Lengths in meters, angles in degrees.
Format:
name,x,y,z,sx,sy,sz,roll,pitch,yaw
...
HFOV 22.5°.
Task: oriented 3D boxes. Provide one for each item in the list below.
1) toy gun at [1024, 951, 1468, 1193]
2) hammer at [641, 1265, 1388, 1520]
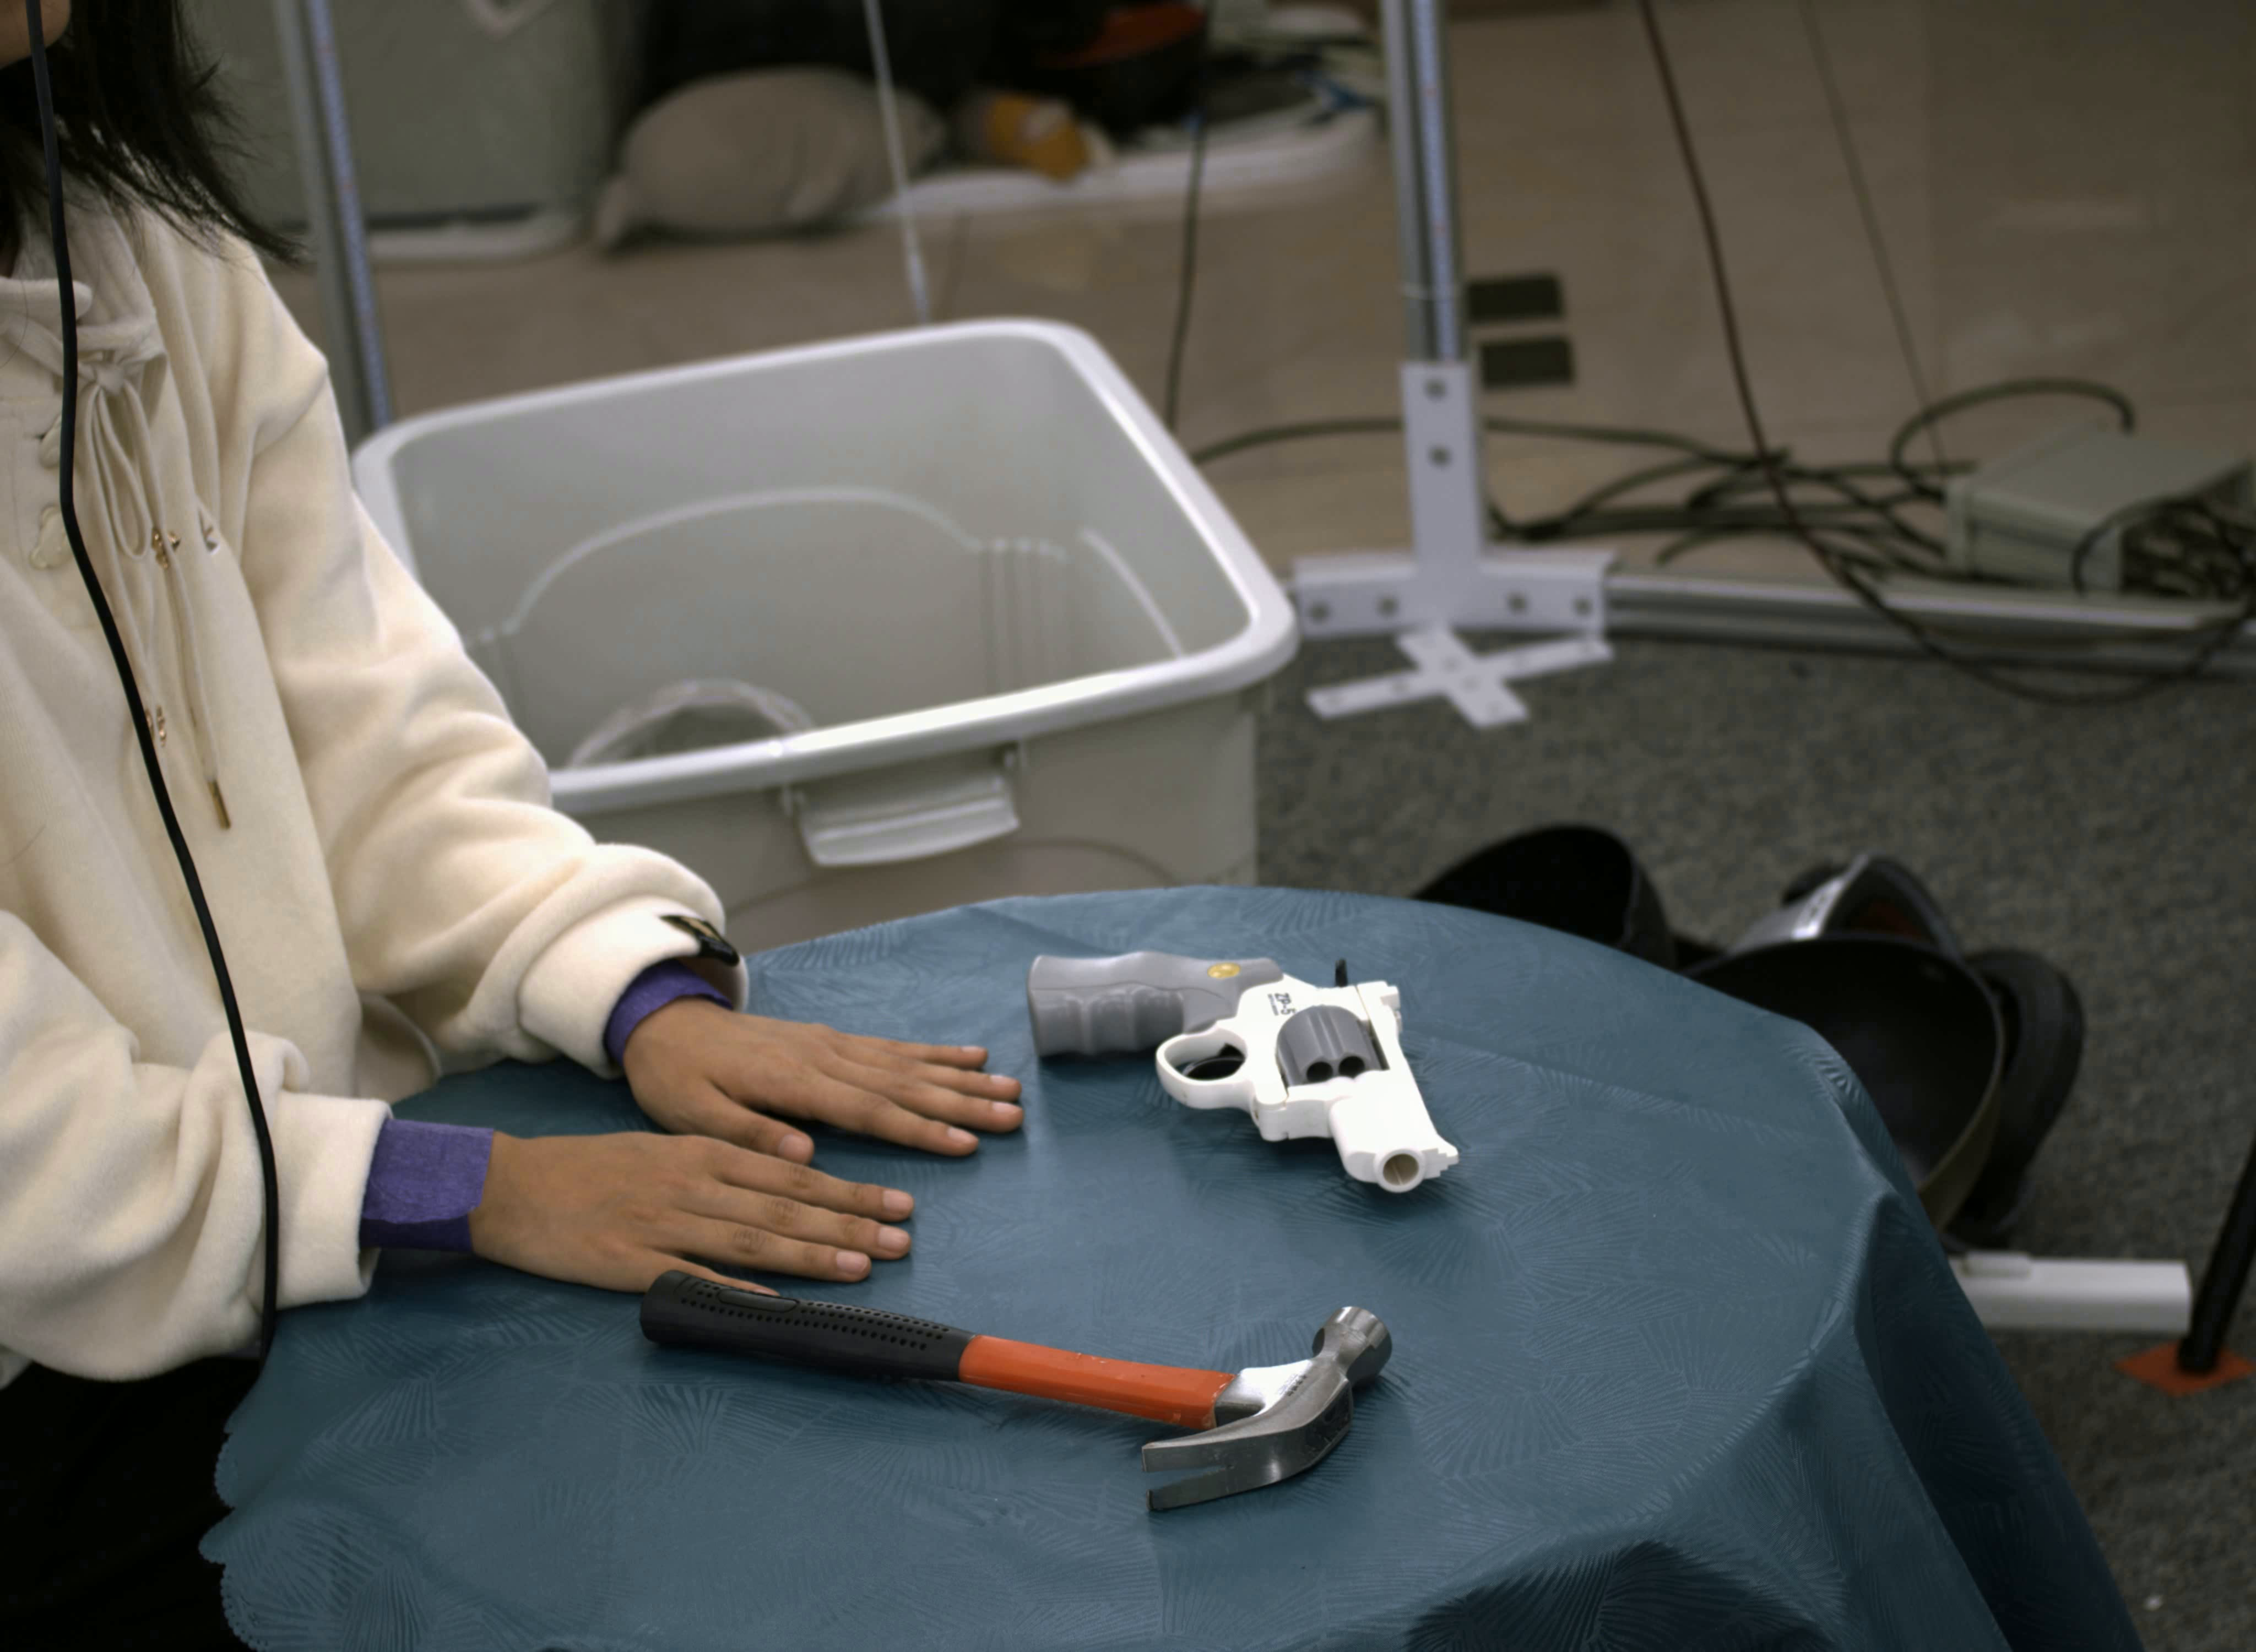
name,x,y,z,sx,sy,sz,roll,pitch,yaw
toy gun,0.041,0.092,2.190,0.141,0.039,0.206,-8,25,-7
hammer,-0.052,0.189,2.019,0.276,0.027,0.109,7,37,27
